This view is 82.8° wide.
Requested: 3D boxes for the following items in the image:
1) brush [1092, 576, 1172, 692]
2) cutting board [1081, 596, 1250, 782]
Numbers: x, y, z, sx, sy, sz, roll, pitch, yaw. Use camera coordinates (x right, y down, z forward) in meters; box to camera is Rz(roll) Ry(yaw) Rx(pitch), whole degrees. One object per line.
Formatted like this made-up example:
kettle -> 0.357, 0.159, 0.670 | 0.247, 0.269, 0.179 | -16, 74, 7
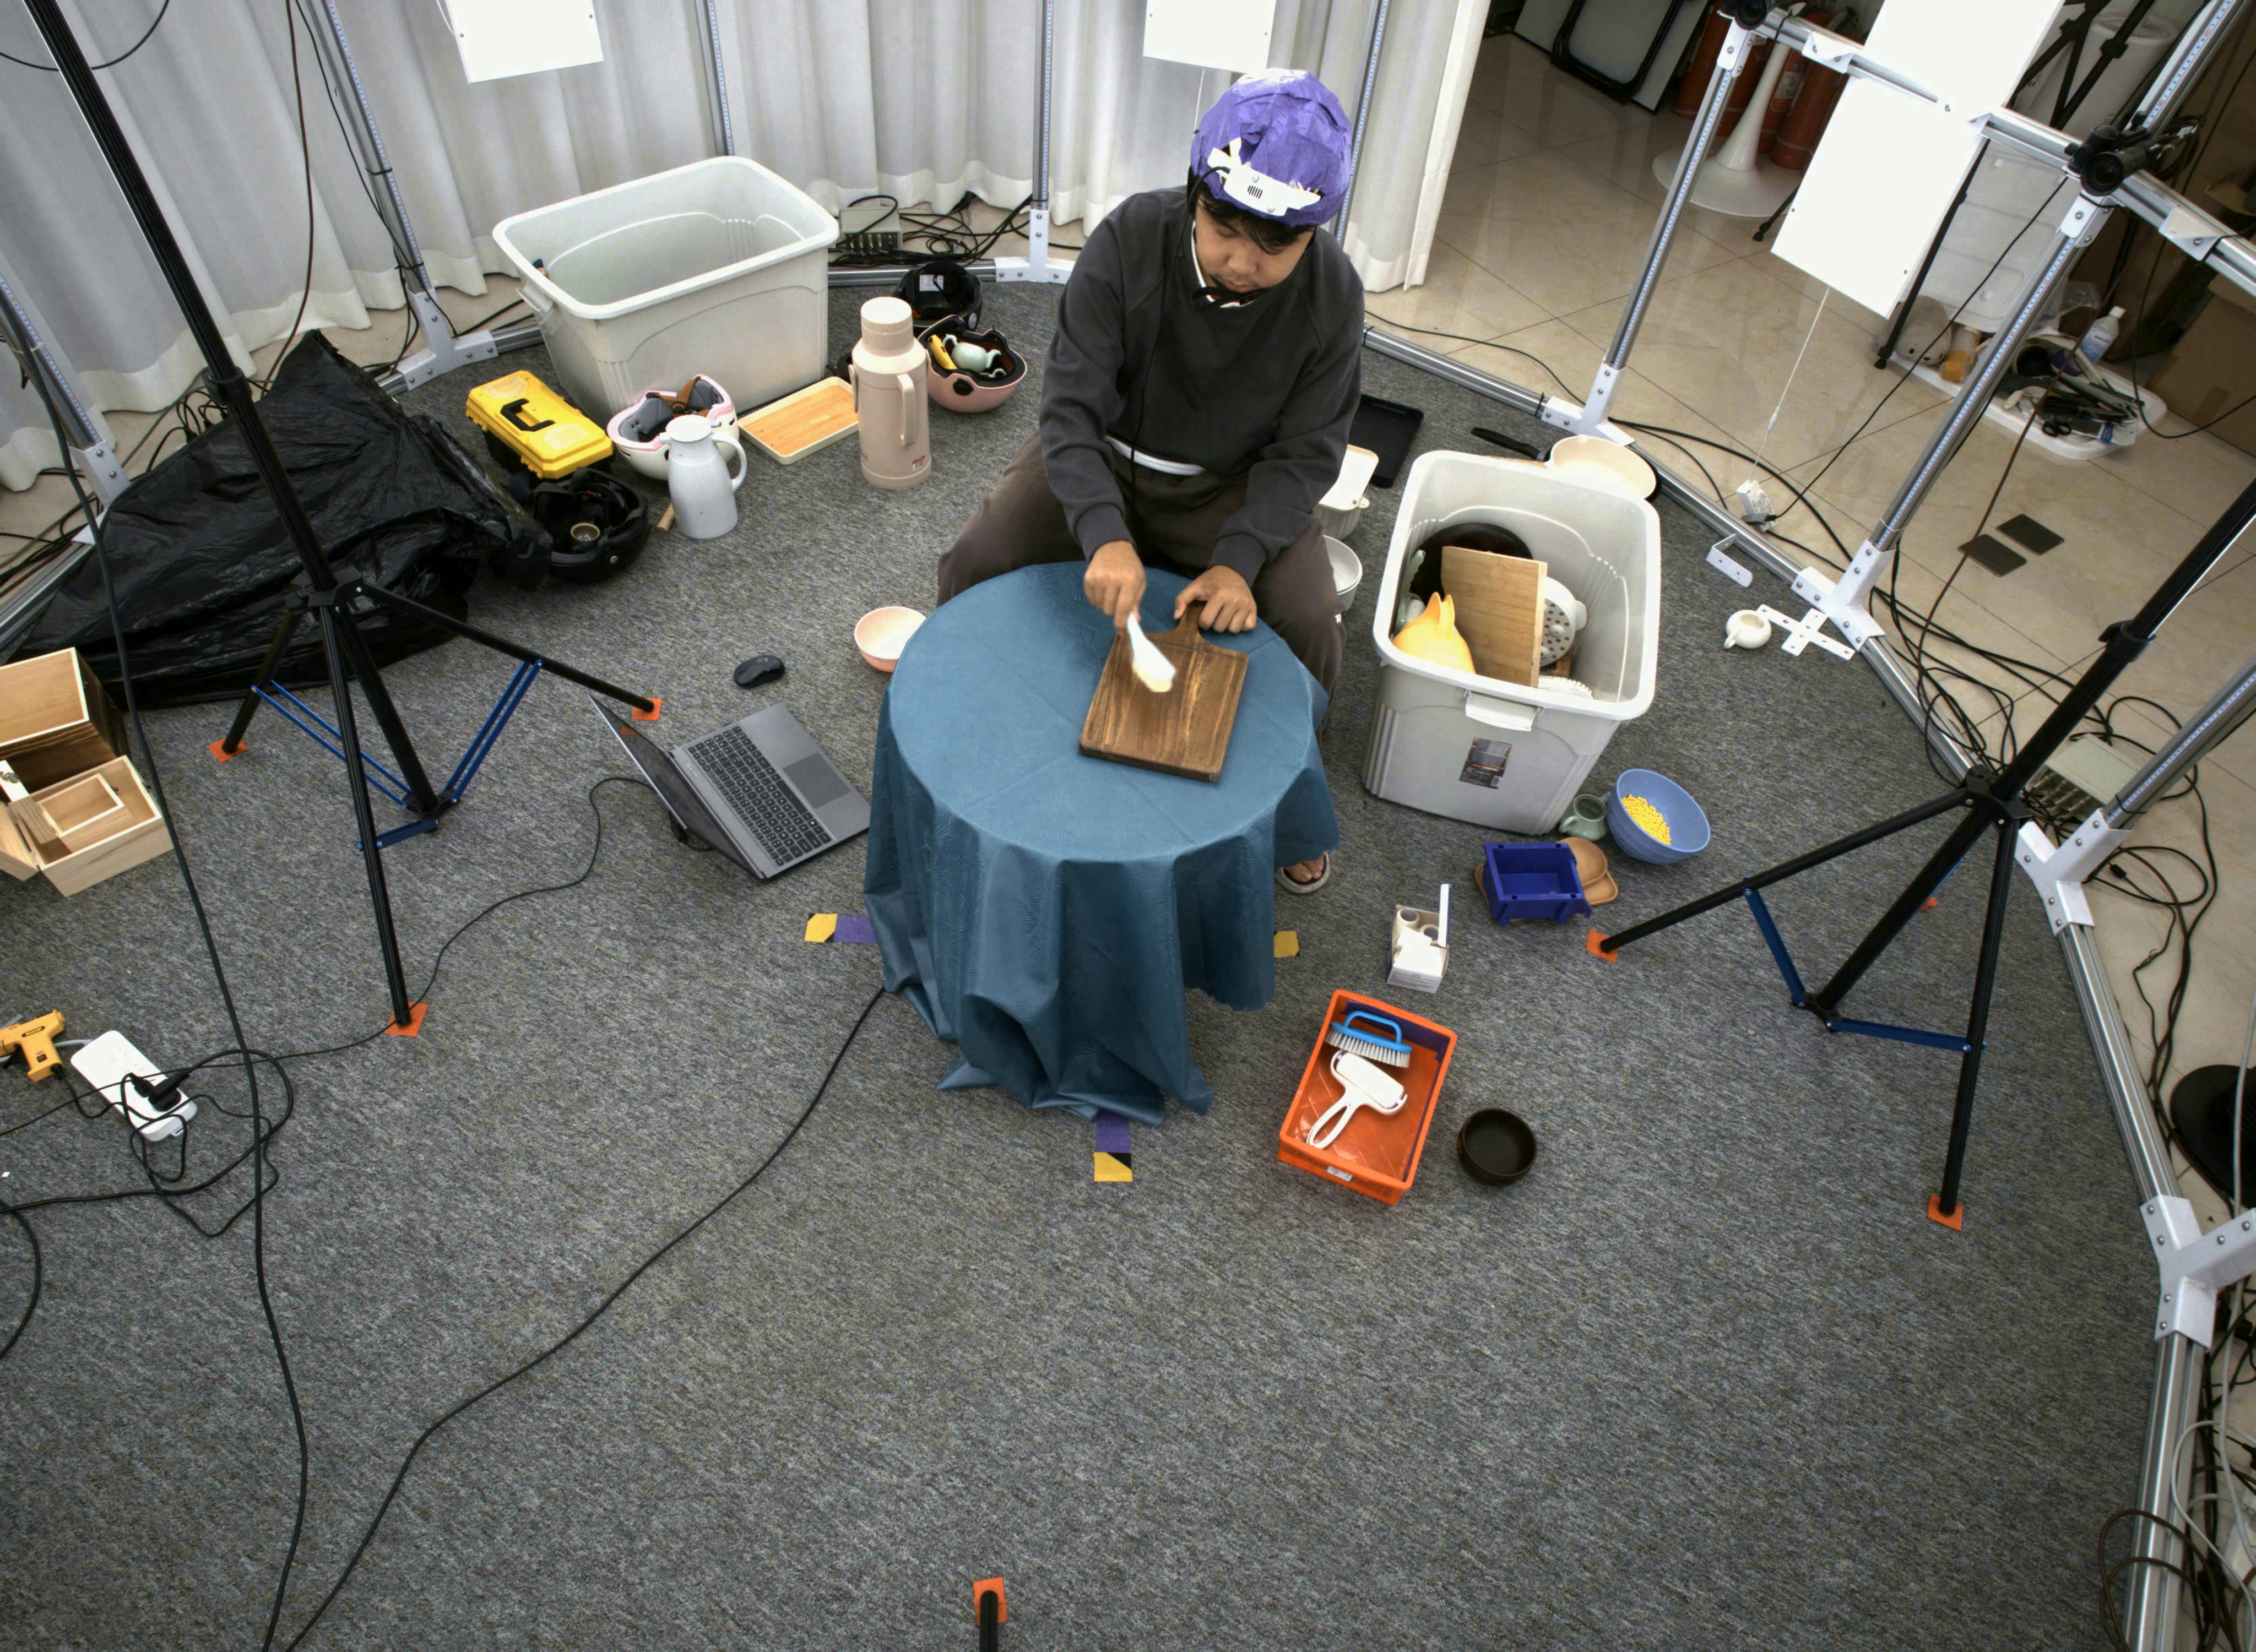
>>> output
brush -> 0.000, -0.274, 1.808 | 0.038, 0.048, 0.234 | -12, 54, -25
cutting board -> 0.068, -0.213, 1.842 | 0.201, 0.022, 0.360 | 12, 49, 6
